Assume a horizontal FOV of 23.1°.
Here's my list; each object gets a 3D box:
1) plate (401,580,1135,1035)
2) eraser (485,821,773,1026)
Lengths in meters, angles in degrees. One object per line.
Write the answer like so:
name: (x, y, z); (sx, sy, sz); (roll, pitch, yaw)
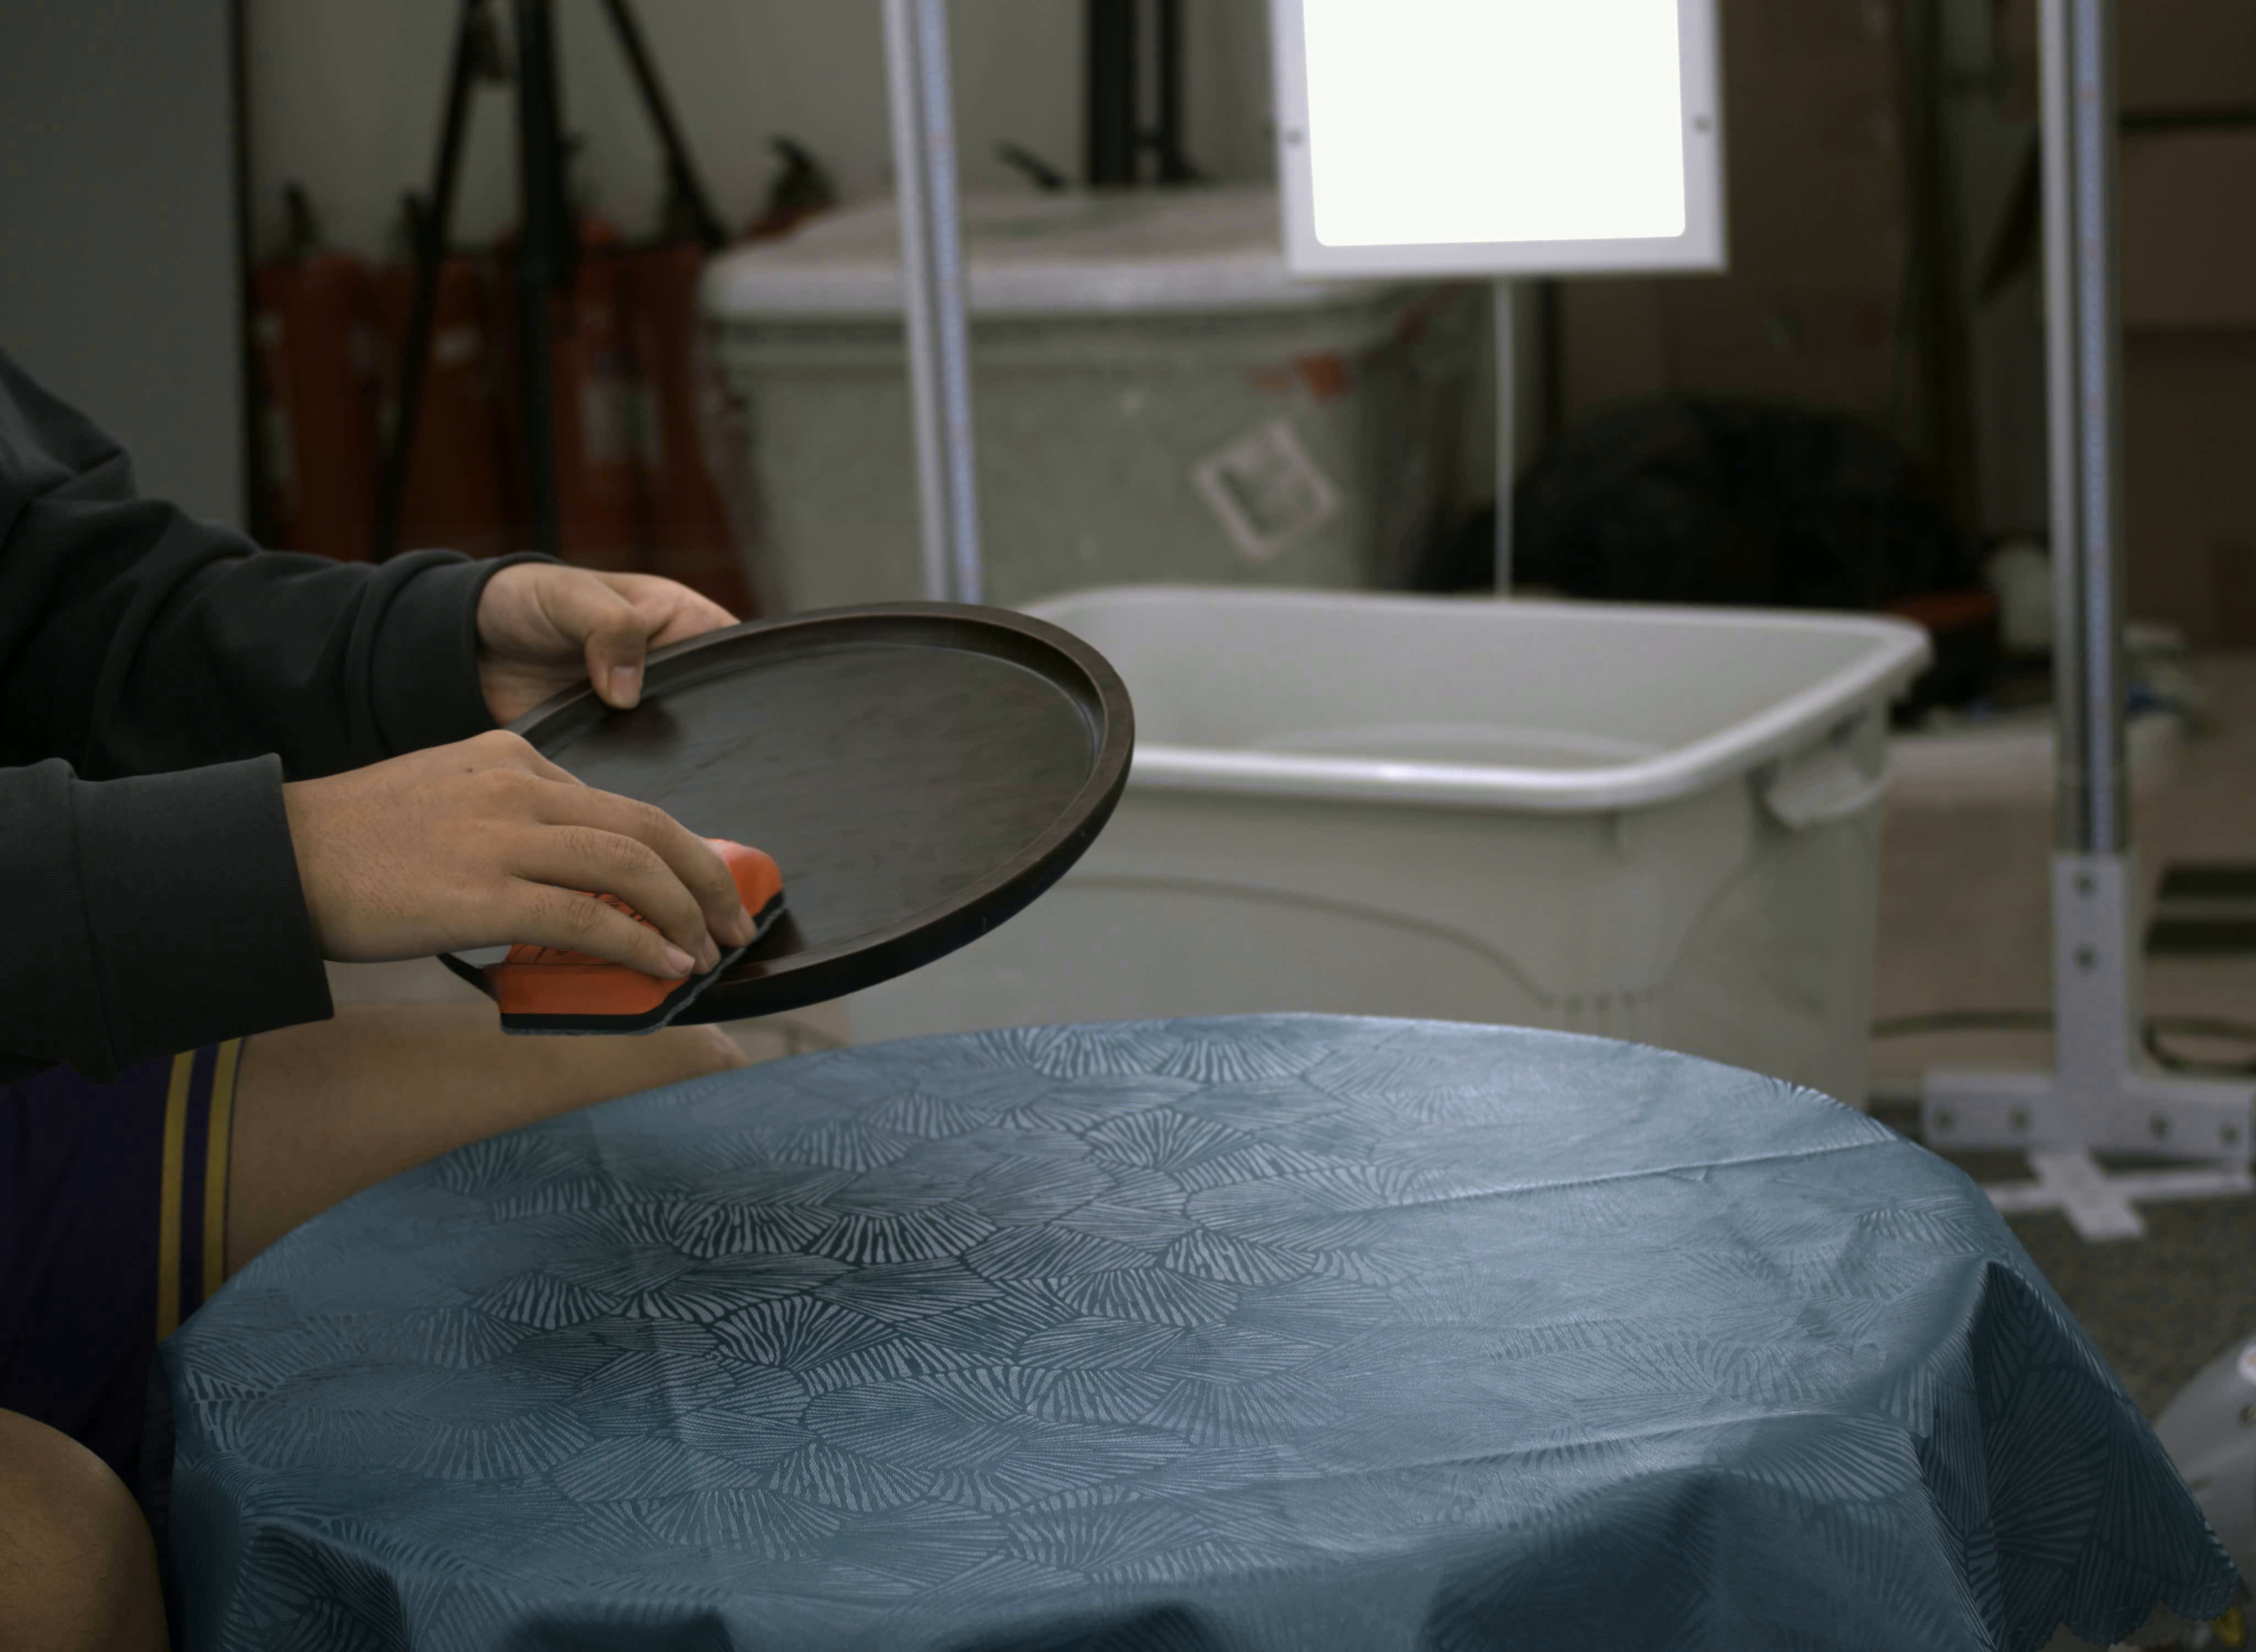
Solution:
plate: (-0.119, -0.005, 1.850); (0.255, 0.029, 0.254); (-13, 30, 6)
eraser: (-0.158, 0.030, 1.757); (0.060, 0.023, 0.106); (3, 25, 22)
